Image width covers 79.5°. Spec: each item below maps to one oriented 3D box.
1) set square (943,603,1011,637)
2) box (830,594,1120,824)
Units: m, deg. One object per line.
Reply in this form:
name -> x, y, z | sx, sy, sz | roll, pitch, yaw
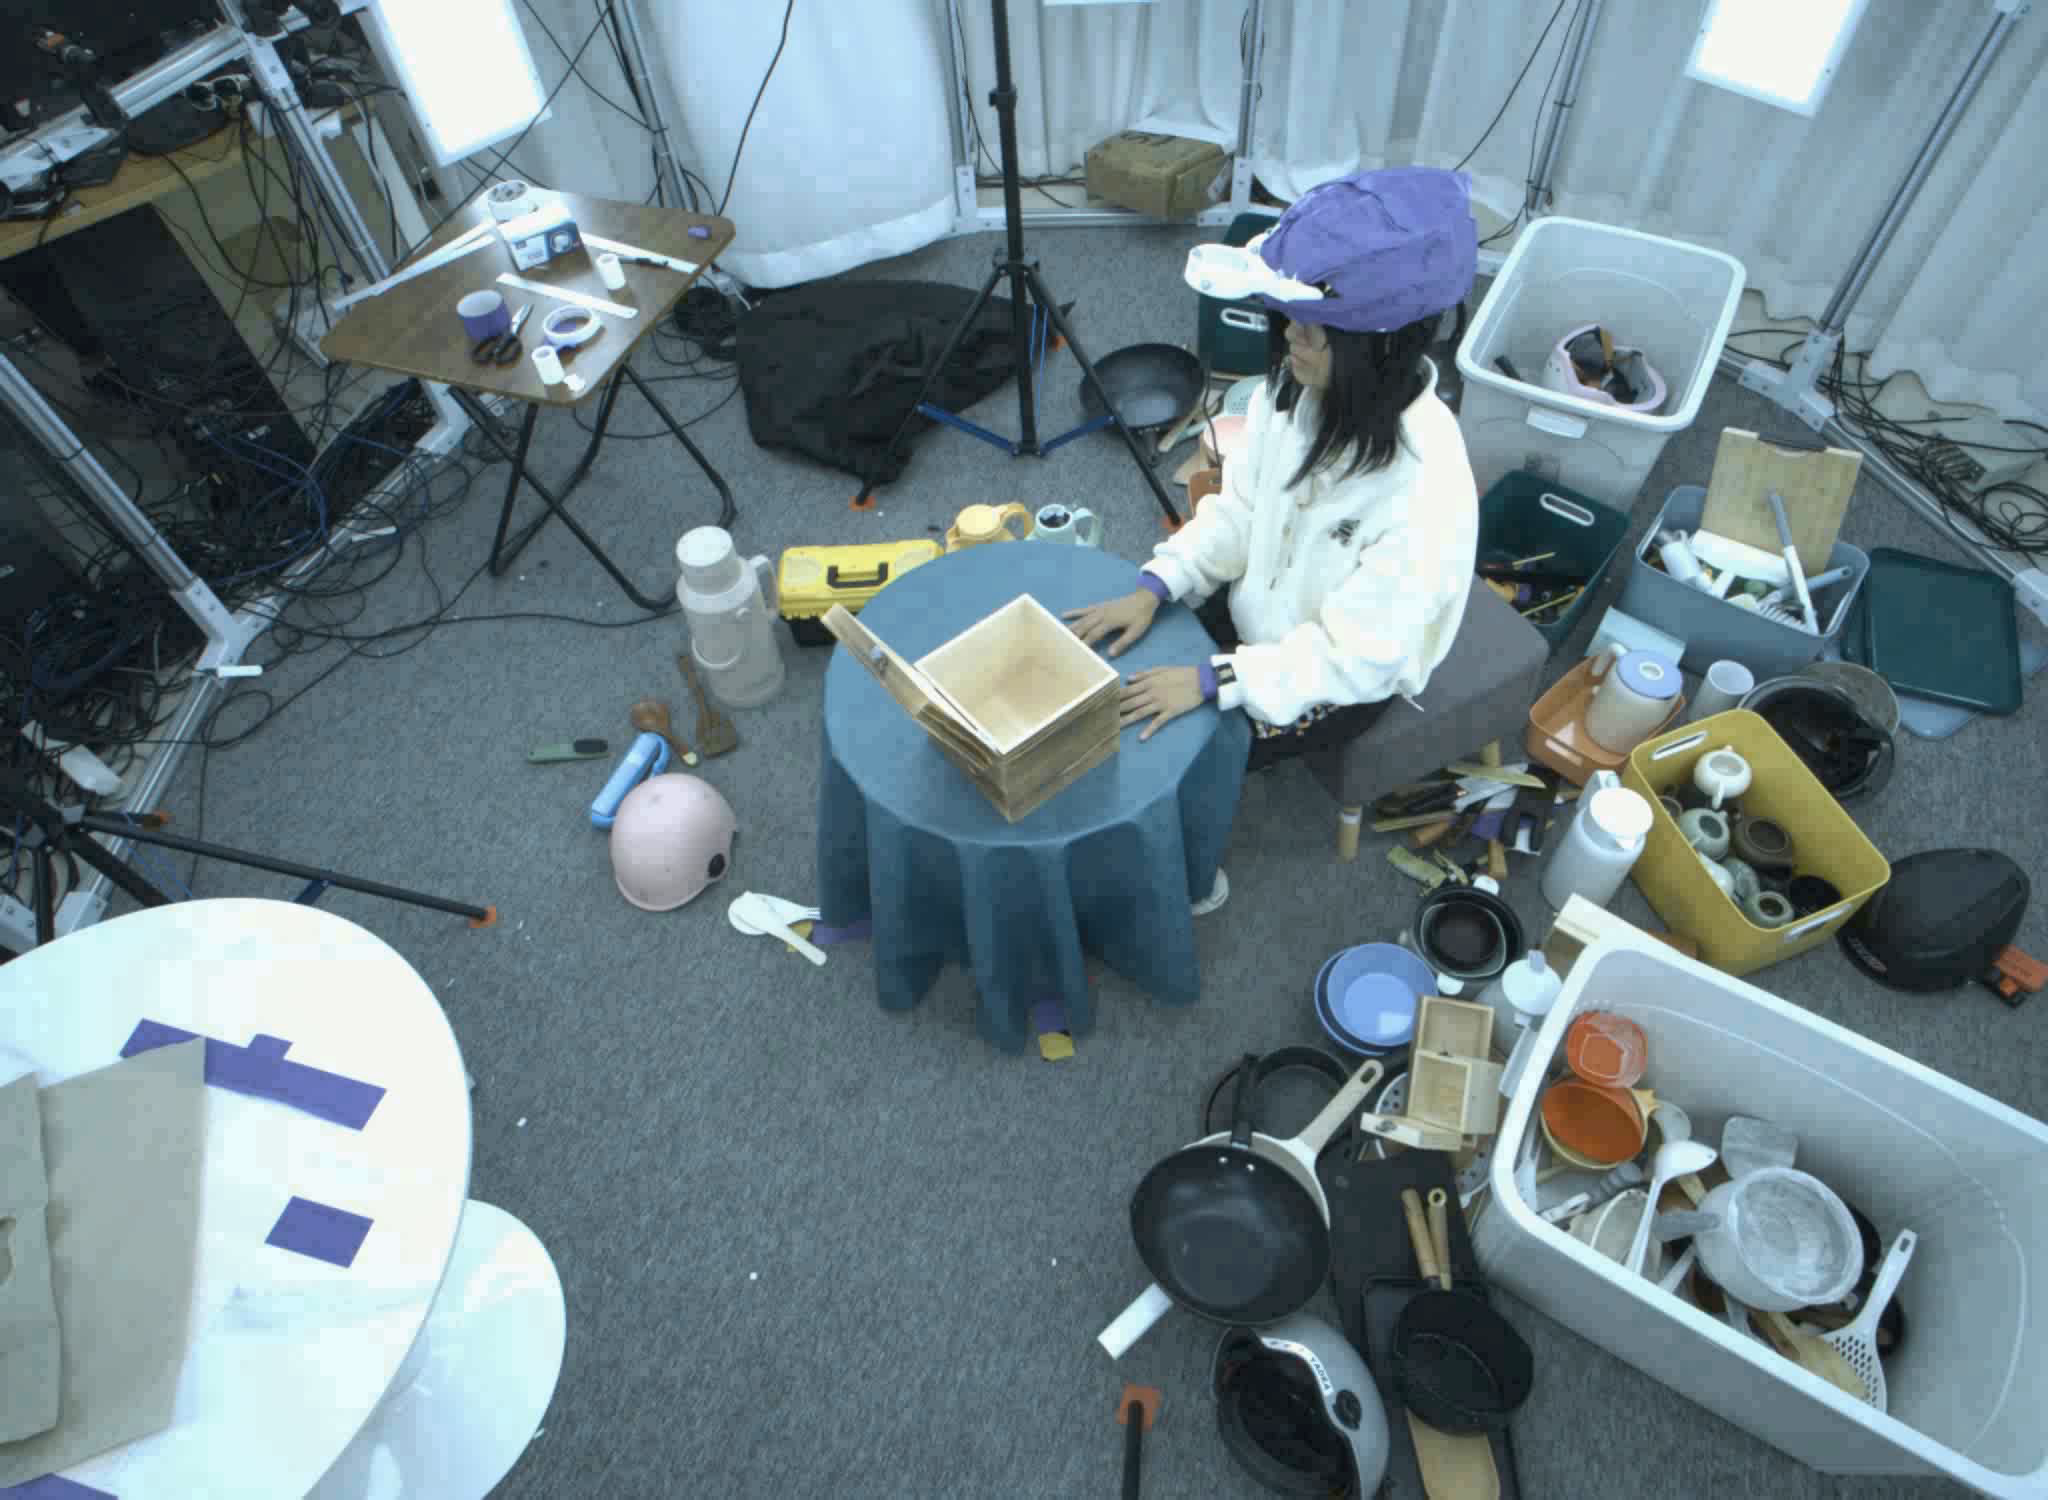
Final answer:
set square -> -0.063, -0.207, 1.933 | 0.132, 0.006, 0.060 | -4, 58, -1
box -> -0.053, -0.084, 1.629 | 0.324, 0.379, 0.205 | -36, 61, -19
